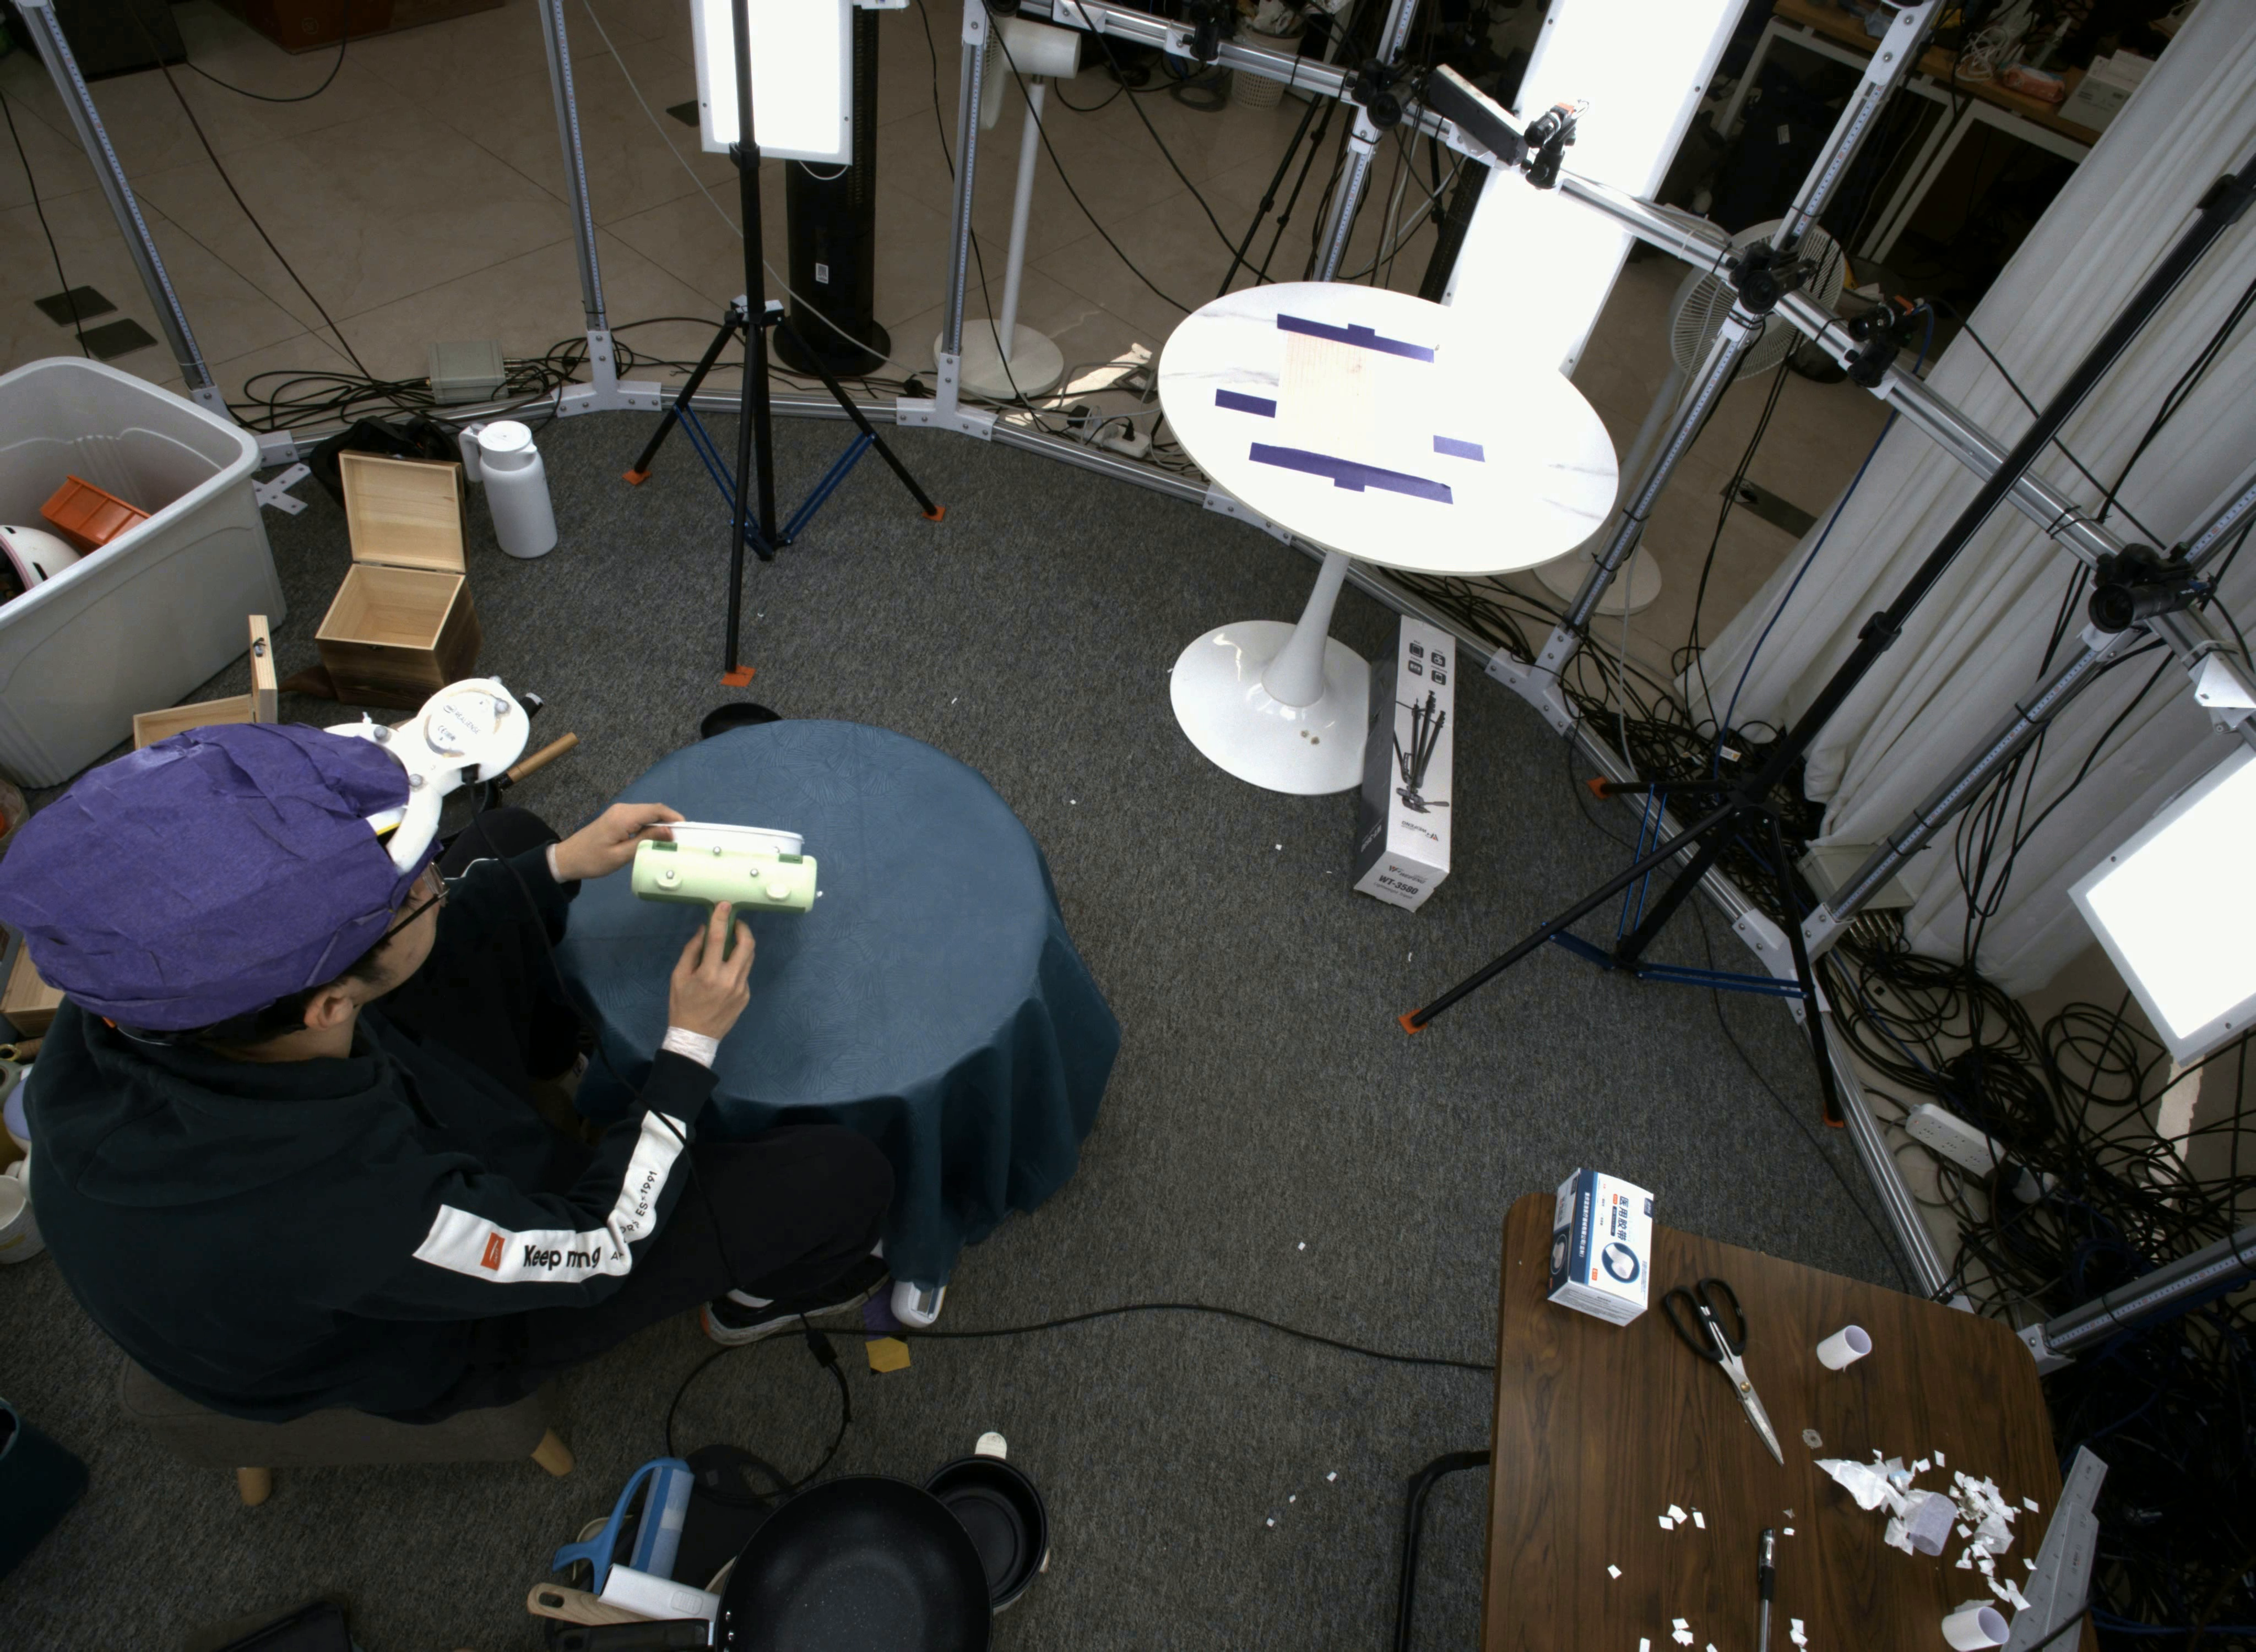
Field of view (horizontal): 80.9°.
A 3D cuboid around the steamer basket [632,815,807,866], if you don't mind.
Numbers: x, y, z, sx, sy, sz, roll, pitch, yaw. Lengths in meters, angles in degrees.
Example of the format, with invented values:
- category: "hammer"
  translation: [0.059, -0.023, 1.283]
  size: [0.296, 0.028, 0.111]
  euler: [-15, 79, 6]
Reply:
- category: "steamer basket"
  translation: [-0.489, 0.036, 1.545]
  size: [0.195, 0.237, 0.069]
  euler: [-1, 80, 35]

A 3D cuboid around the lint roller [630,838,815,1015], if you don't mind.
- category: "lint roller"
  translation: [-0.450, 0.113, 1.416]
  size: [0.200, 0.081, 0.185]
  euler: [6, 86, -17]
